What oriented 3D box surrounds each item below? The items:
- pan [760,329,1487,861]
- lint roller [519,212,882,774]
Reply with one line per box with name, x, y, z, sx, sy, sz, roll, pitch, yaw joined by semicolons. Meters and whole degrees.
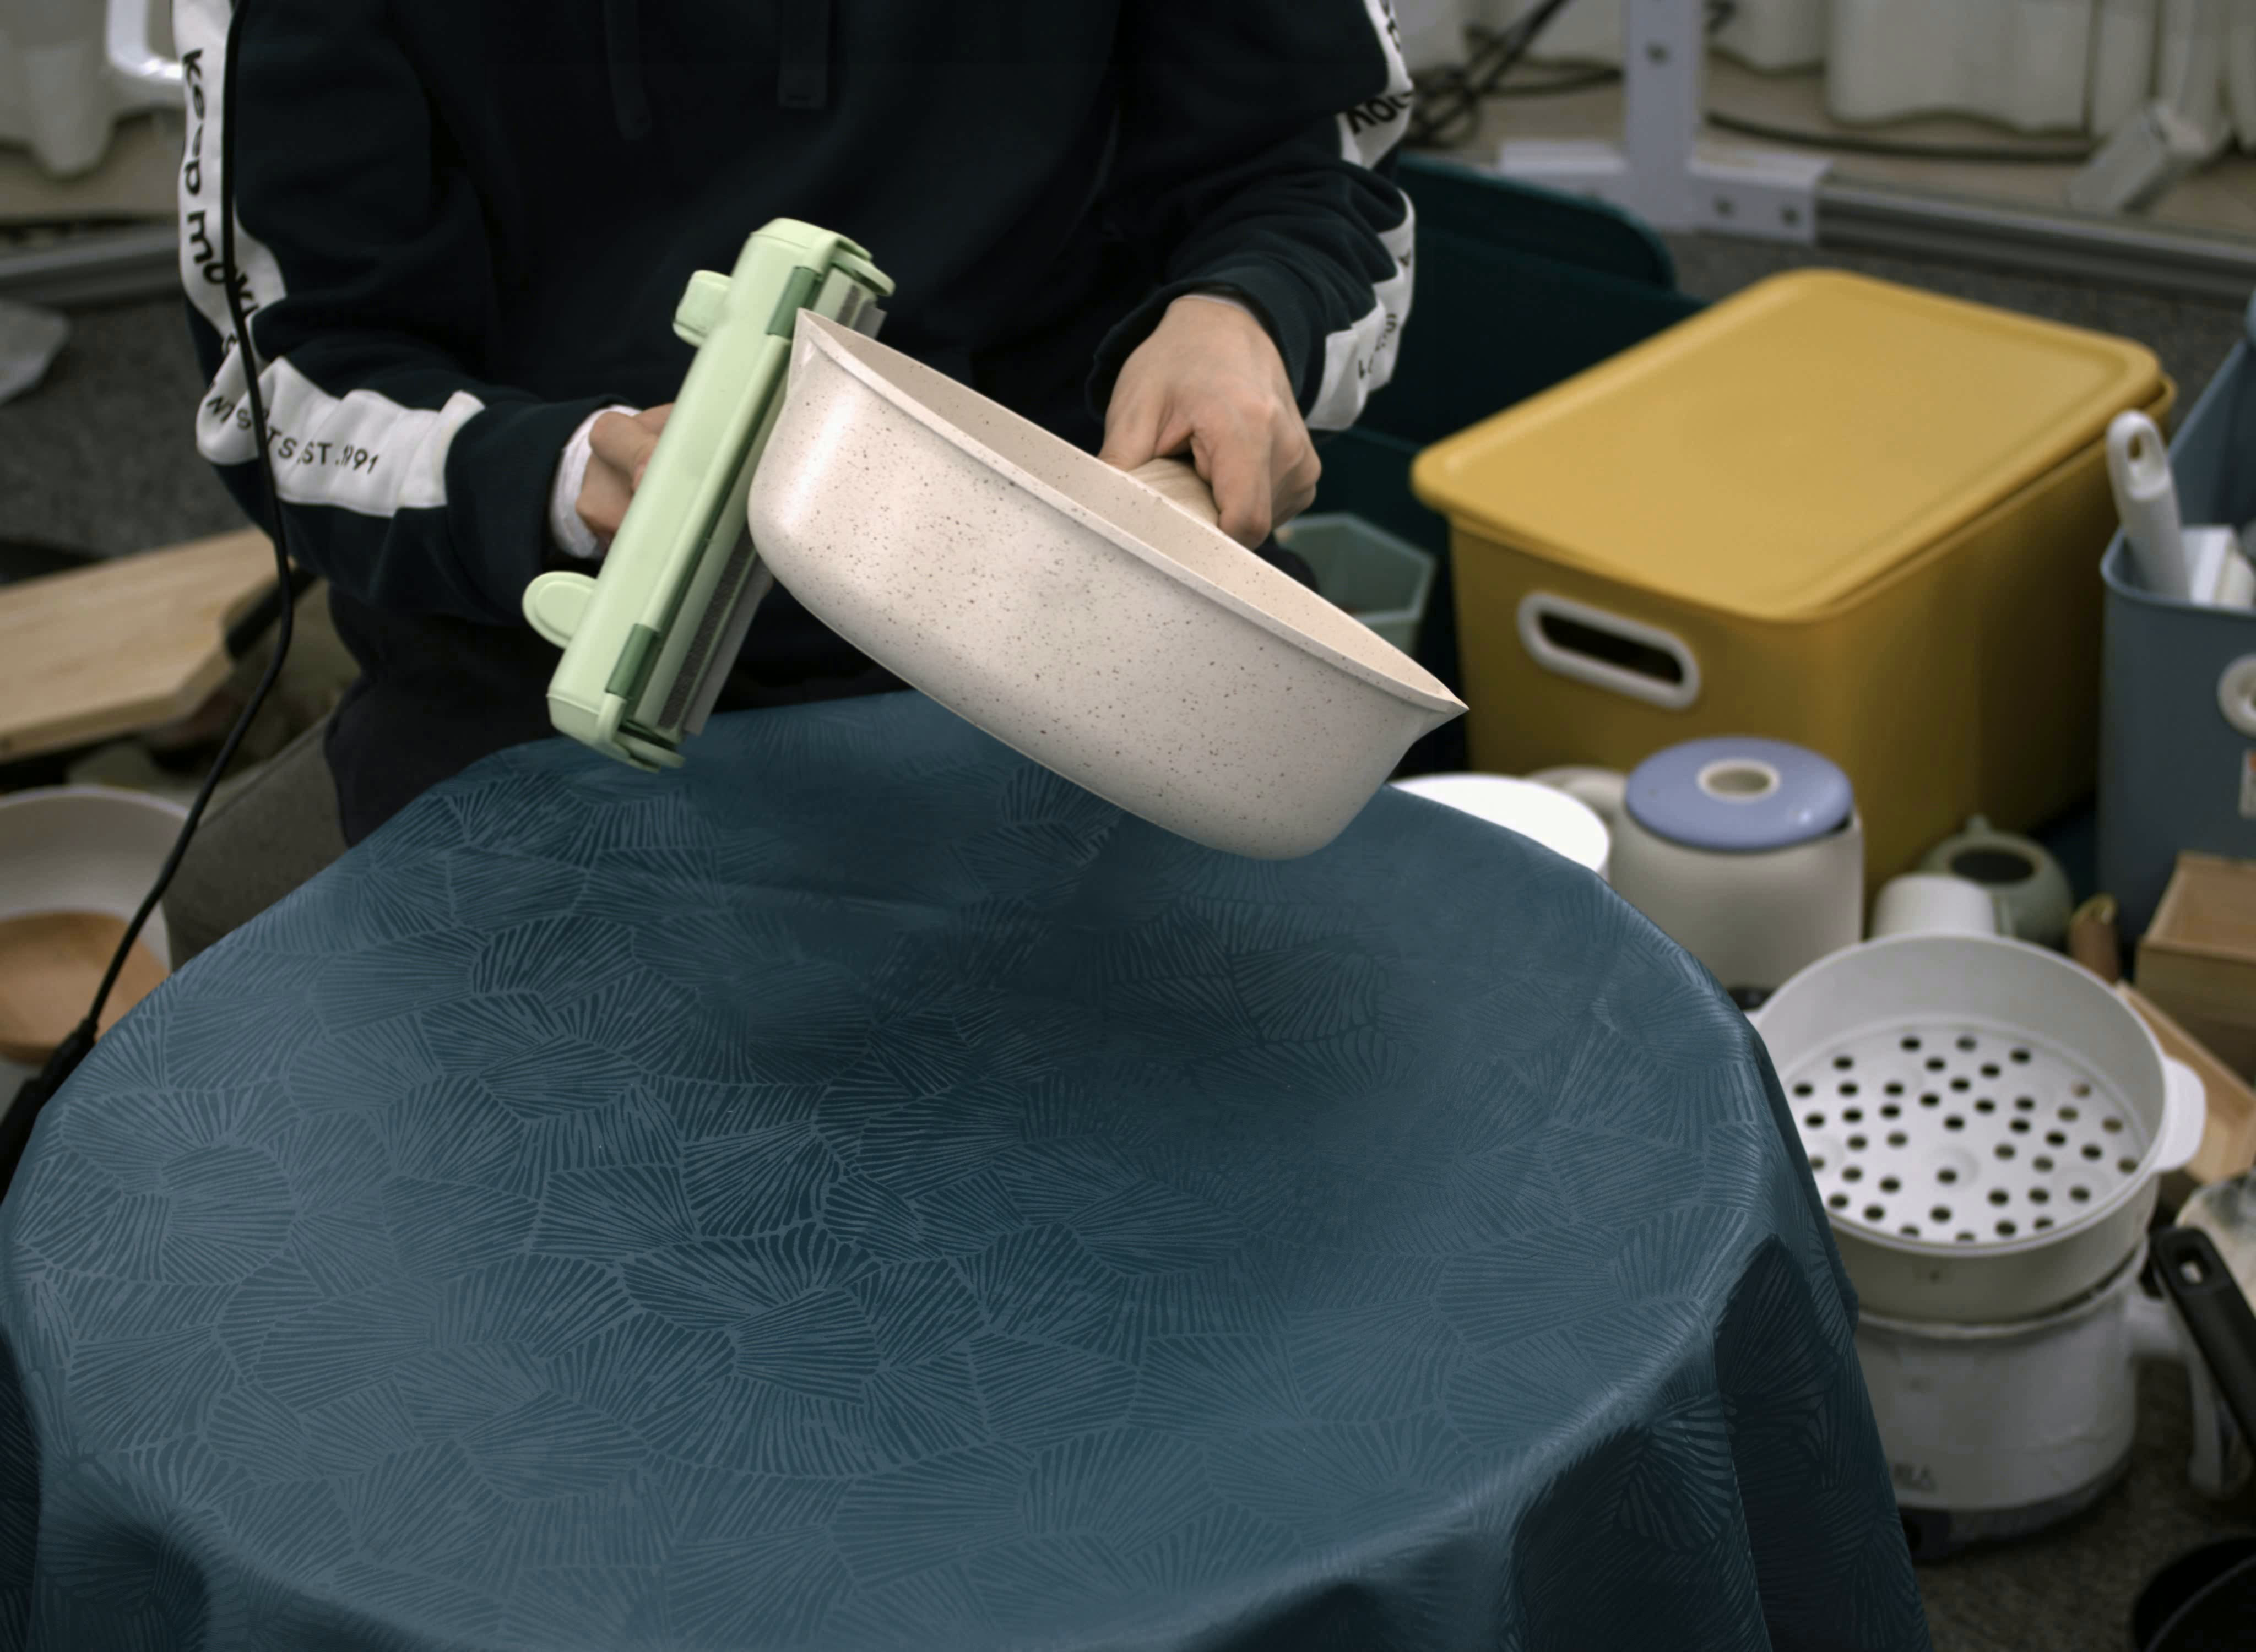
pan;-0.001;-0.084;1.988;0.263;0.102;0.436;28;6;2
lint roller;-0.165;-0.120;2.006;0.082;0.200;0.182;24;-6;-16
